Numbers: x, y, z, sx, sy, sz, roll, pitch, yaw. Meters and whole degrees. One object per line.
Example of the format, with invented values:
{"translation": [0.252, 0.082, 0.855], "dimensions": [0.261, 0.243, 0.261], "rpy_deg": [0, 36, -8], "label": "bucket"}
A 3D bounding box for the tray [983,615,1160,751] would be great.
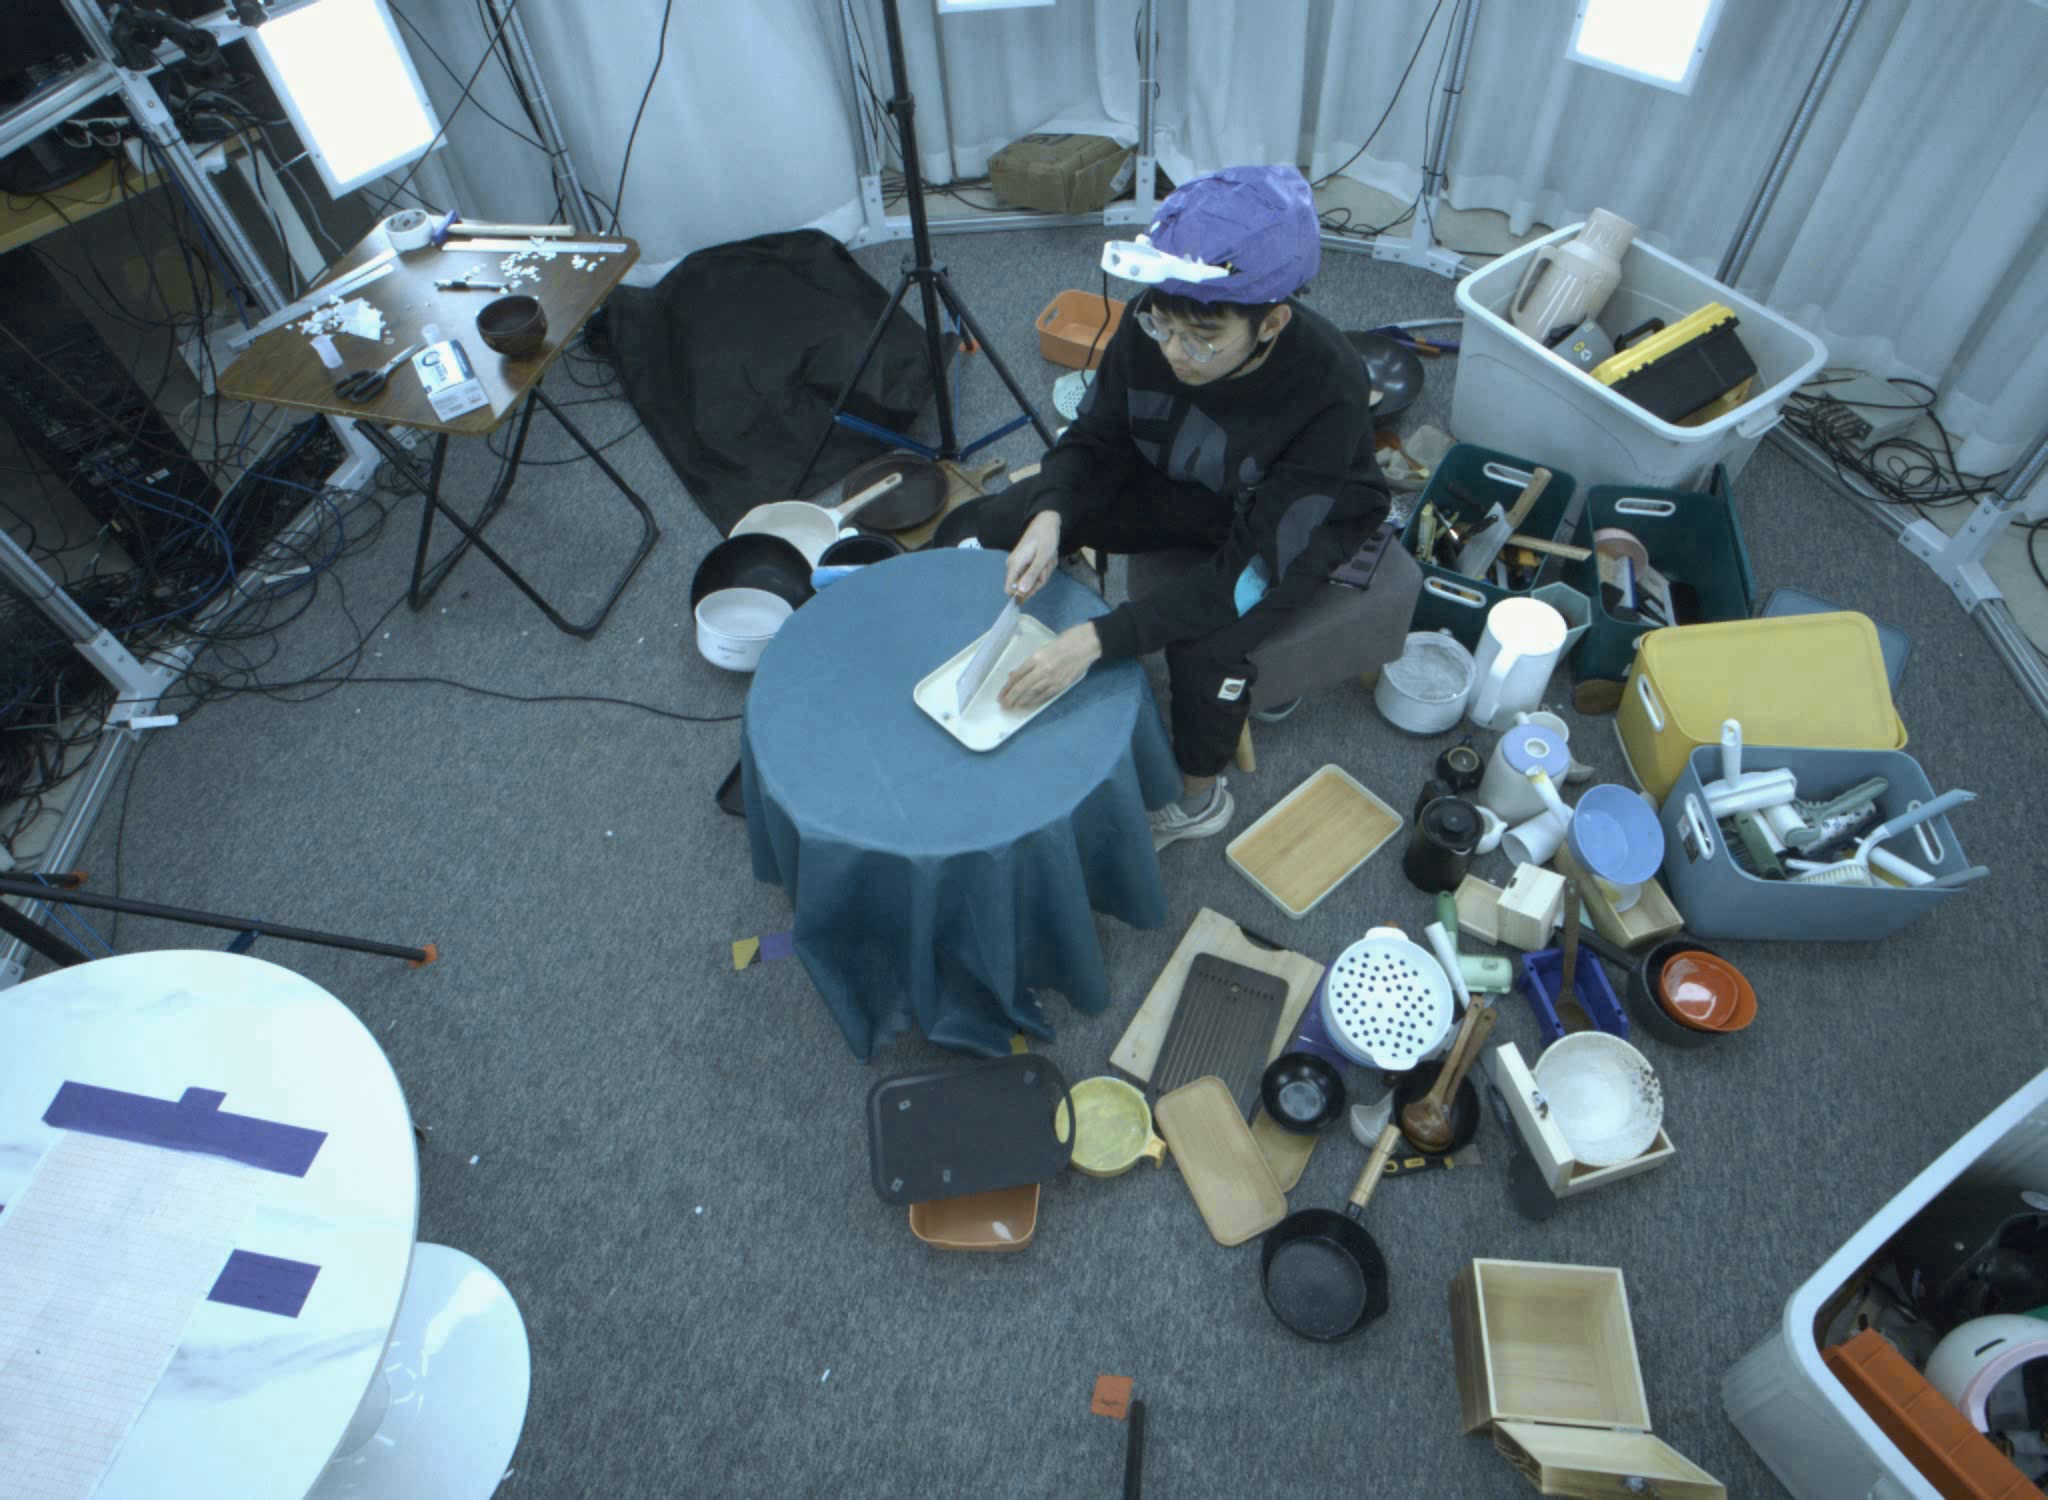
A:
{"translation": [0.072, -0.101, 1.844], "dimensions": [0.241, 0.018, 0.168], "rpy_deg": [-34, 59, -20], "label": "tray"}

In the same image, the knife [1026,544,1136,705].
{"translation": [0.084, -0.186, 1.842], "dimensions": [0.021, 0.094, 0.306], "rpy_deg": [27, 62, 17], "label": "knife"}
